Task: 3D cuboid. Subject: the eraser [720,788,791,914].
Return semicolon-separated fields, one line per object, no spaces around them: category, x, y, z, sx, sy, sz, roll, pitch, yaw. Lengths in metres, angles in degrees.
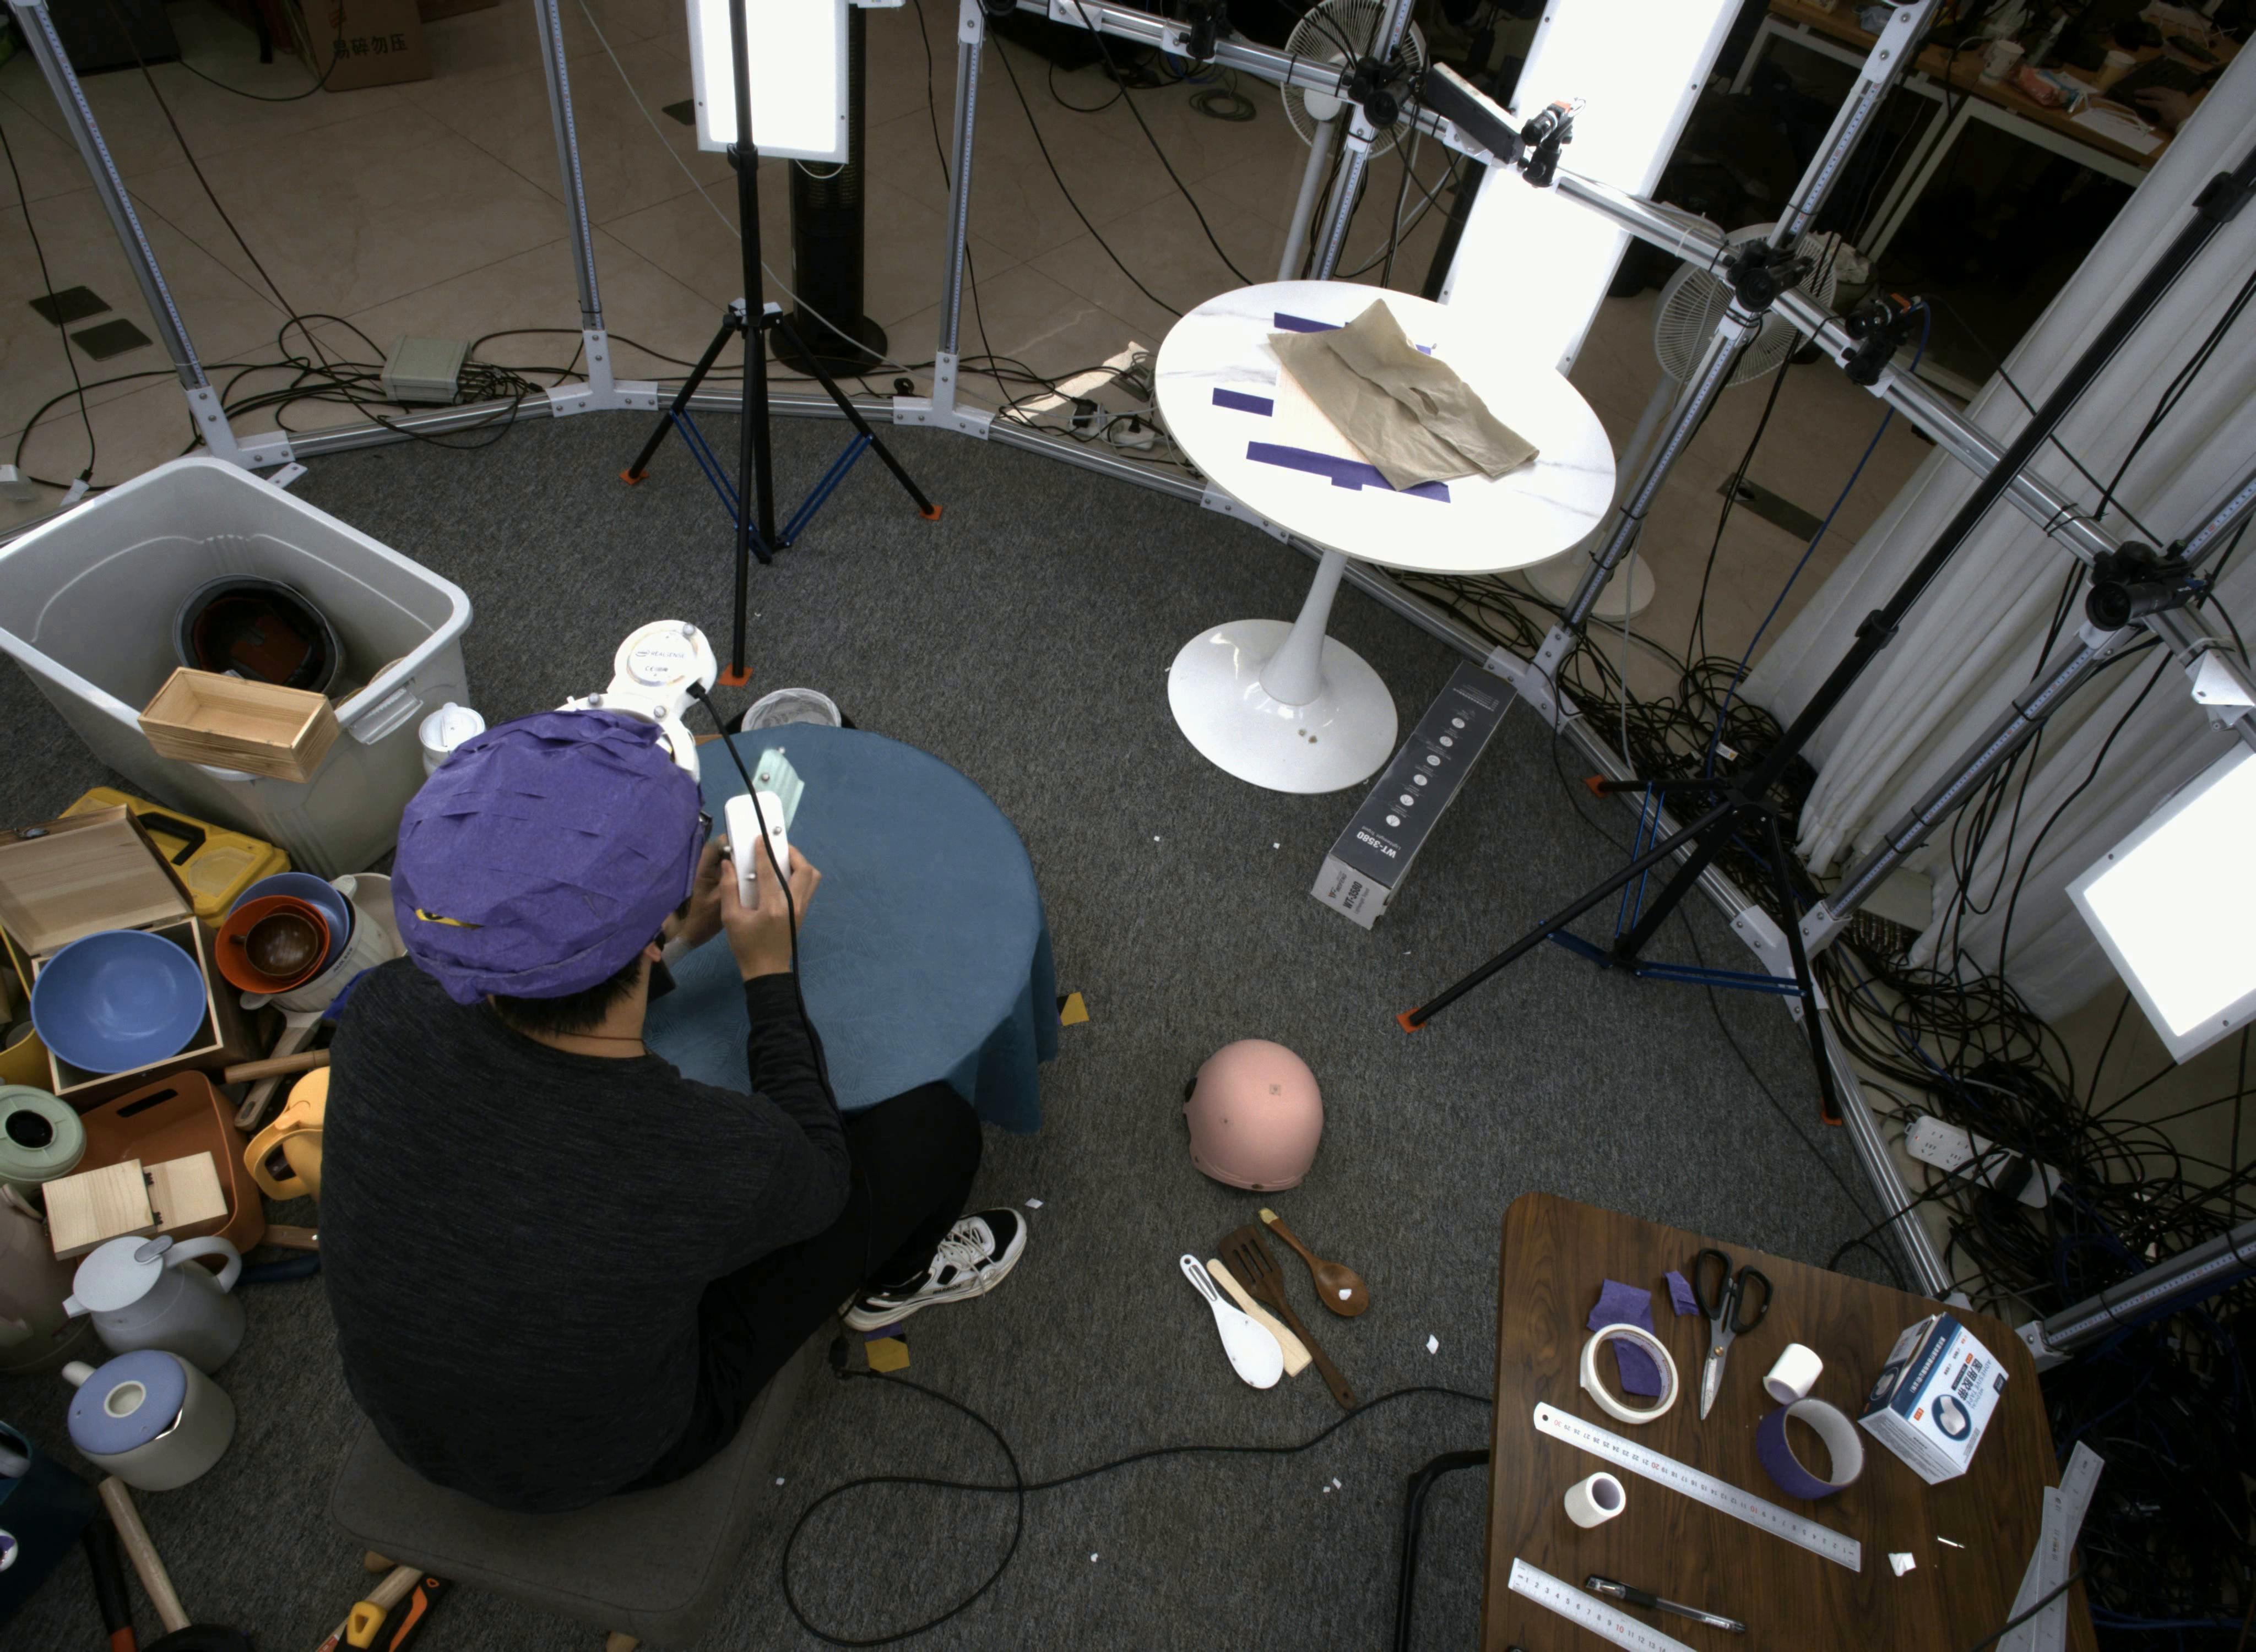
eraser;-0.409;0.026;1.414;0.064;0.033;0.134;-12;102;-33

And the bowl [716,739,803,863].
bowl;-0.421;-0.020;1.494;0.059;0.152;0.149;22;49;-16
